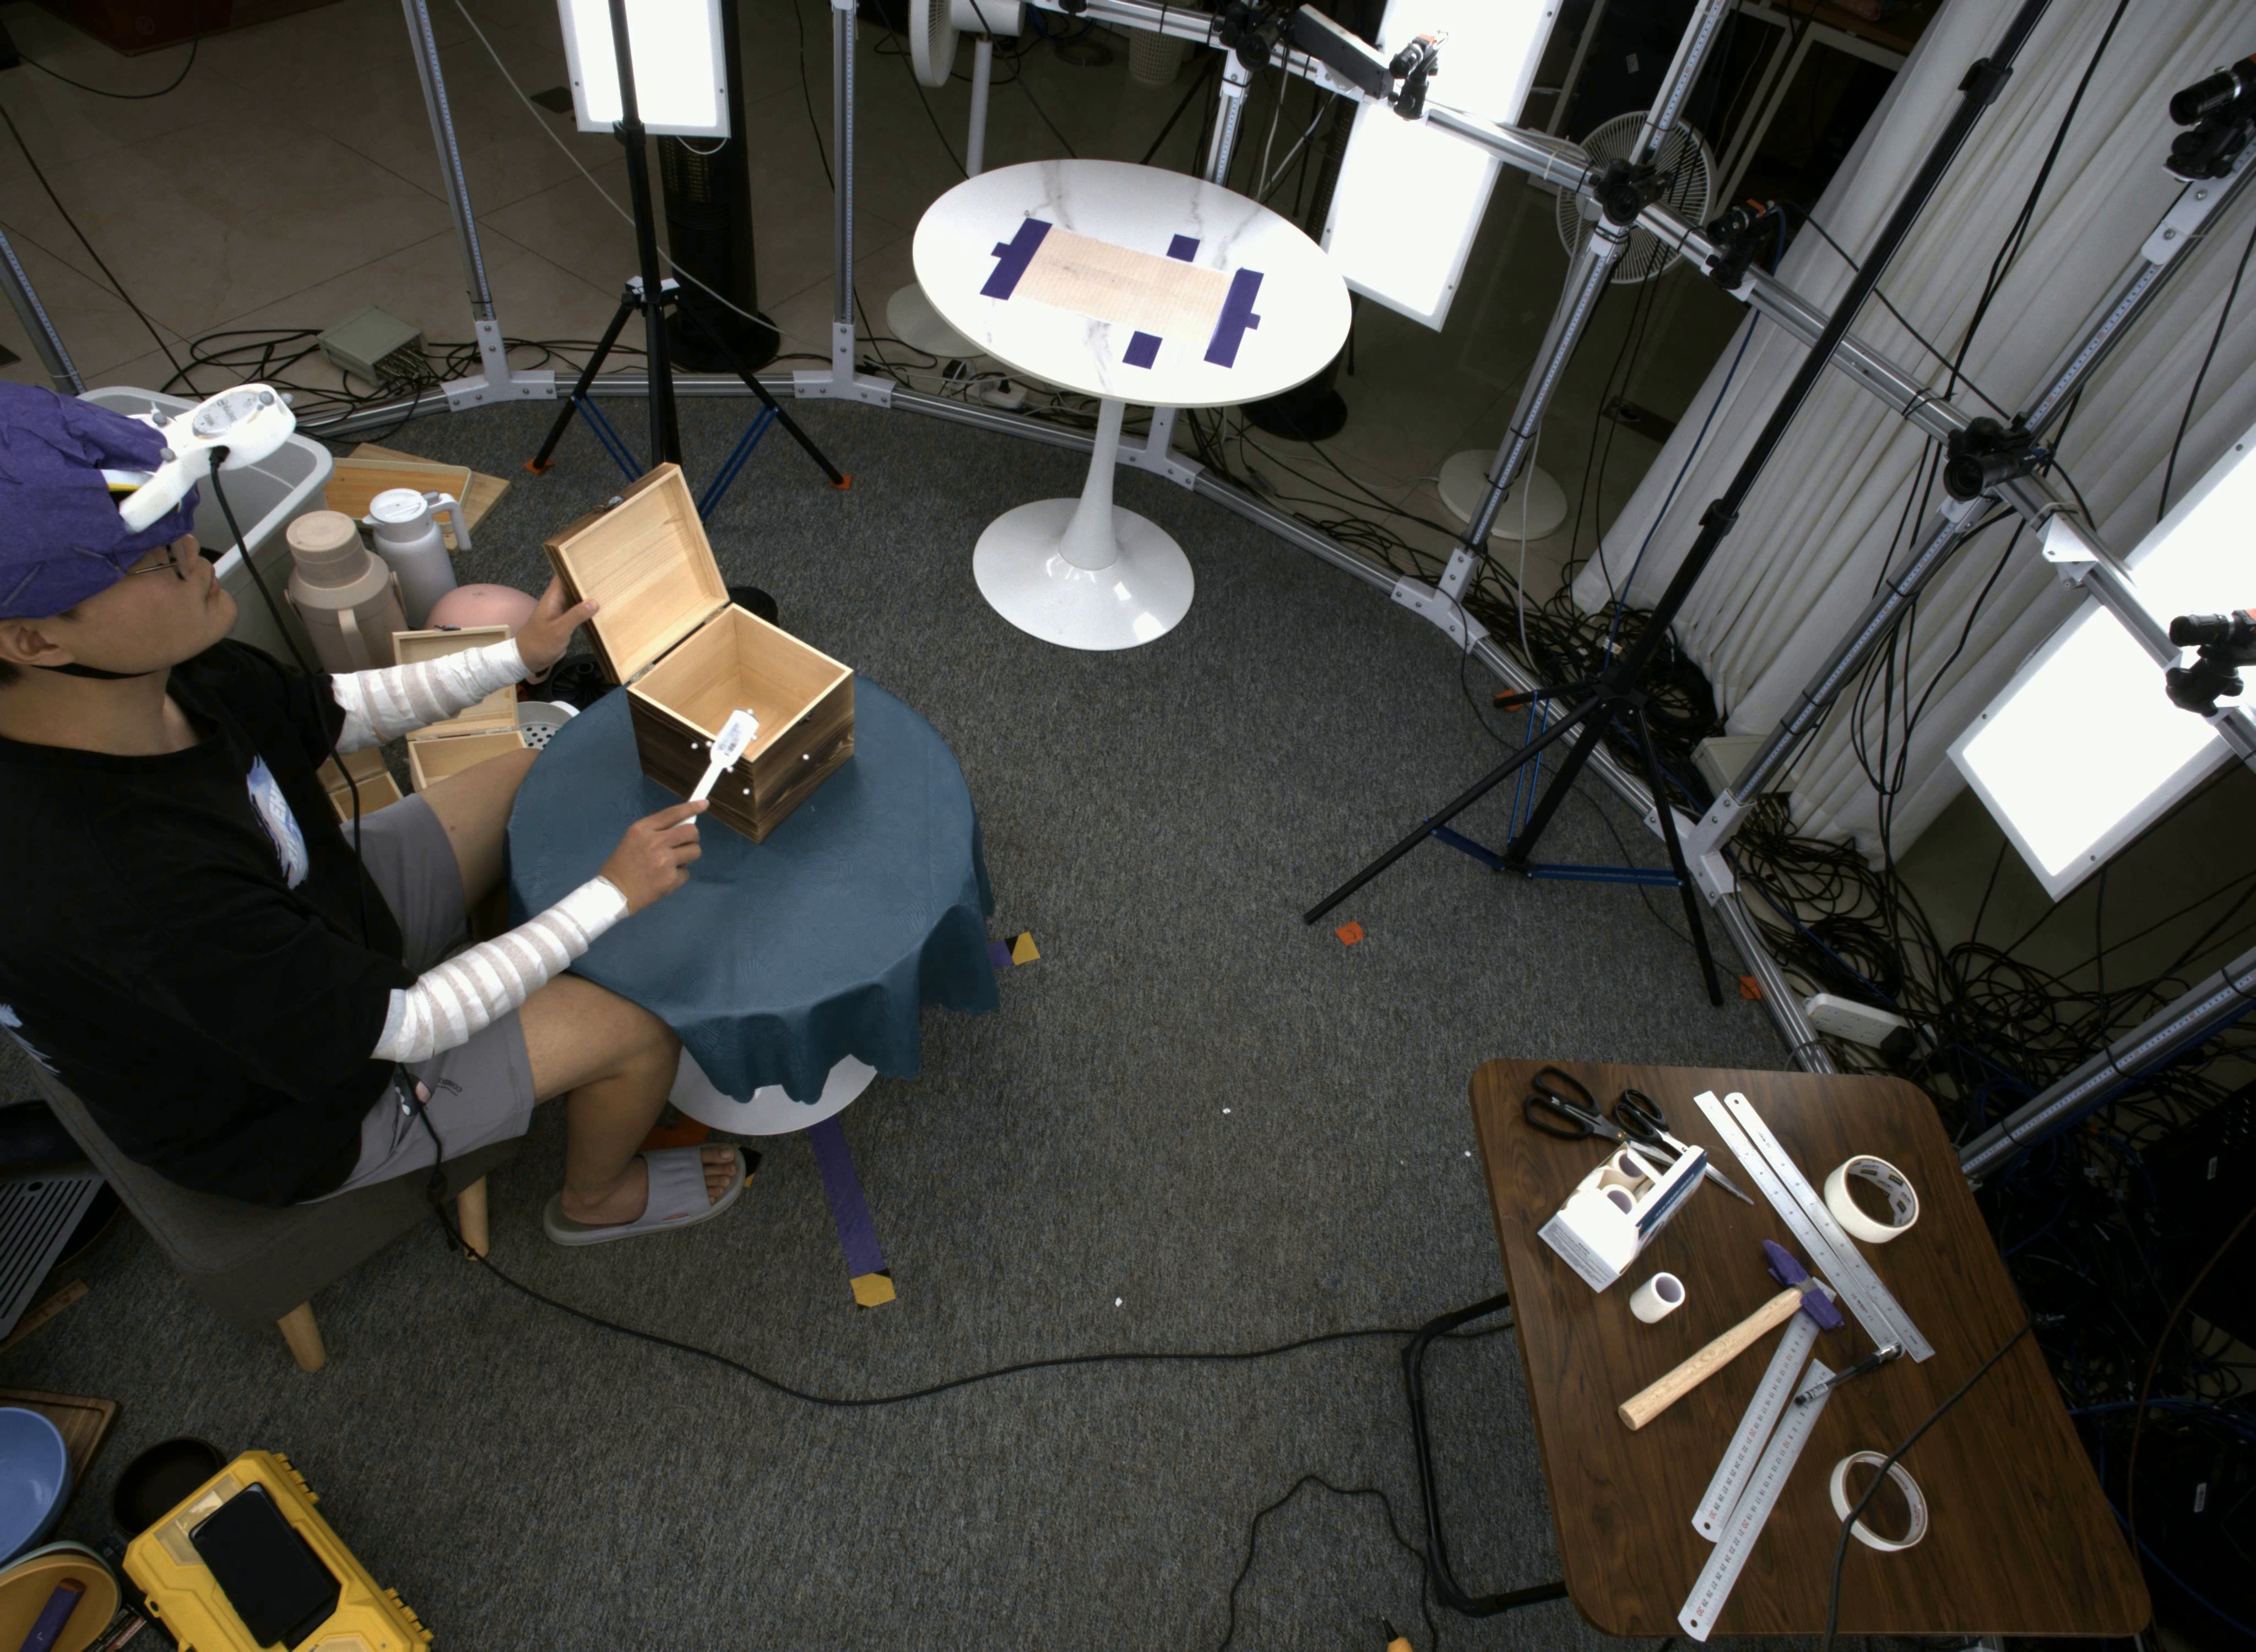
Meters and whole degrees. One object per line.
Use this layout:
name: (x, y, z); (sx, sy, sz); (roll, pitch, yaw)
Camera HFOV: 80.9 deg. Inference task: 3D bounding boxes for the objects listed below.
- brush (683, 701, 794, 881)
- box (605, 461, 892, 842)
brush: (-0.467, -0.043, 1.544); (0.035, 0.049, 0.243); (32, 72, -21)
box: (-0.491, -0.227, 1.658); (0.315, 0.384, 0.208); (29, 54, 13)
